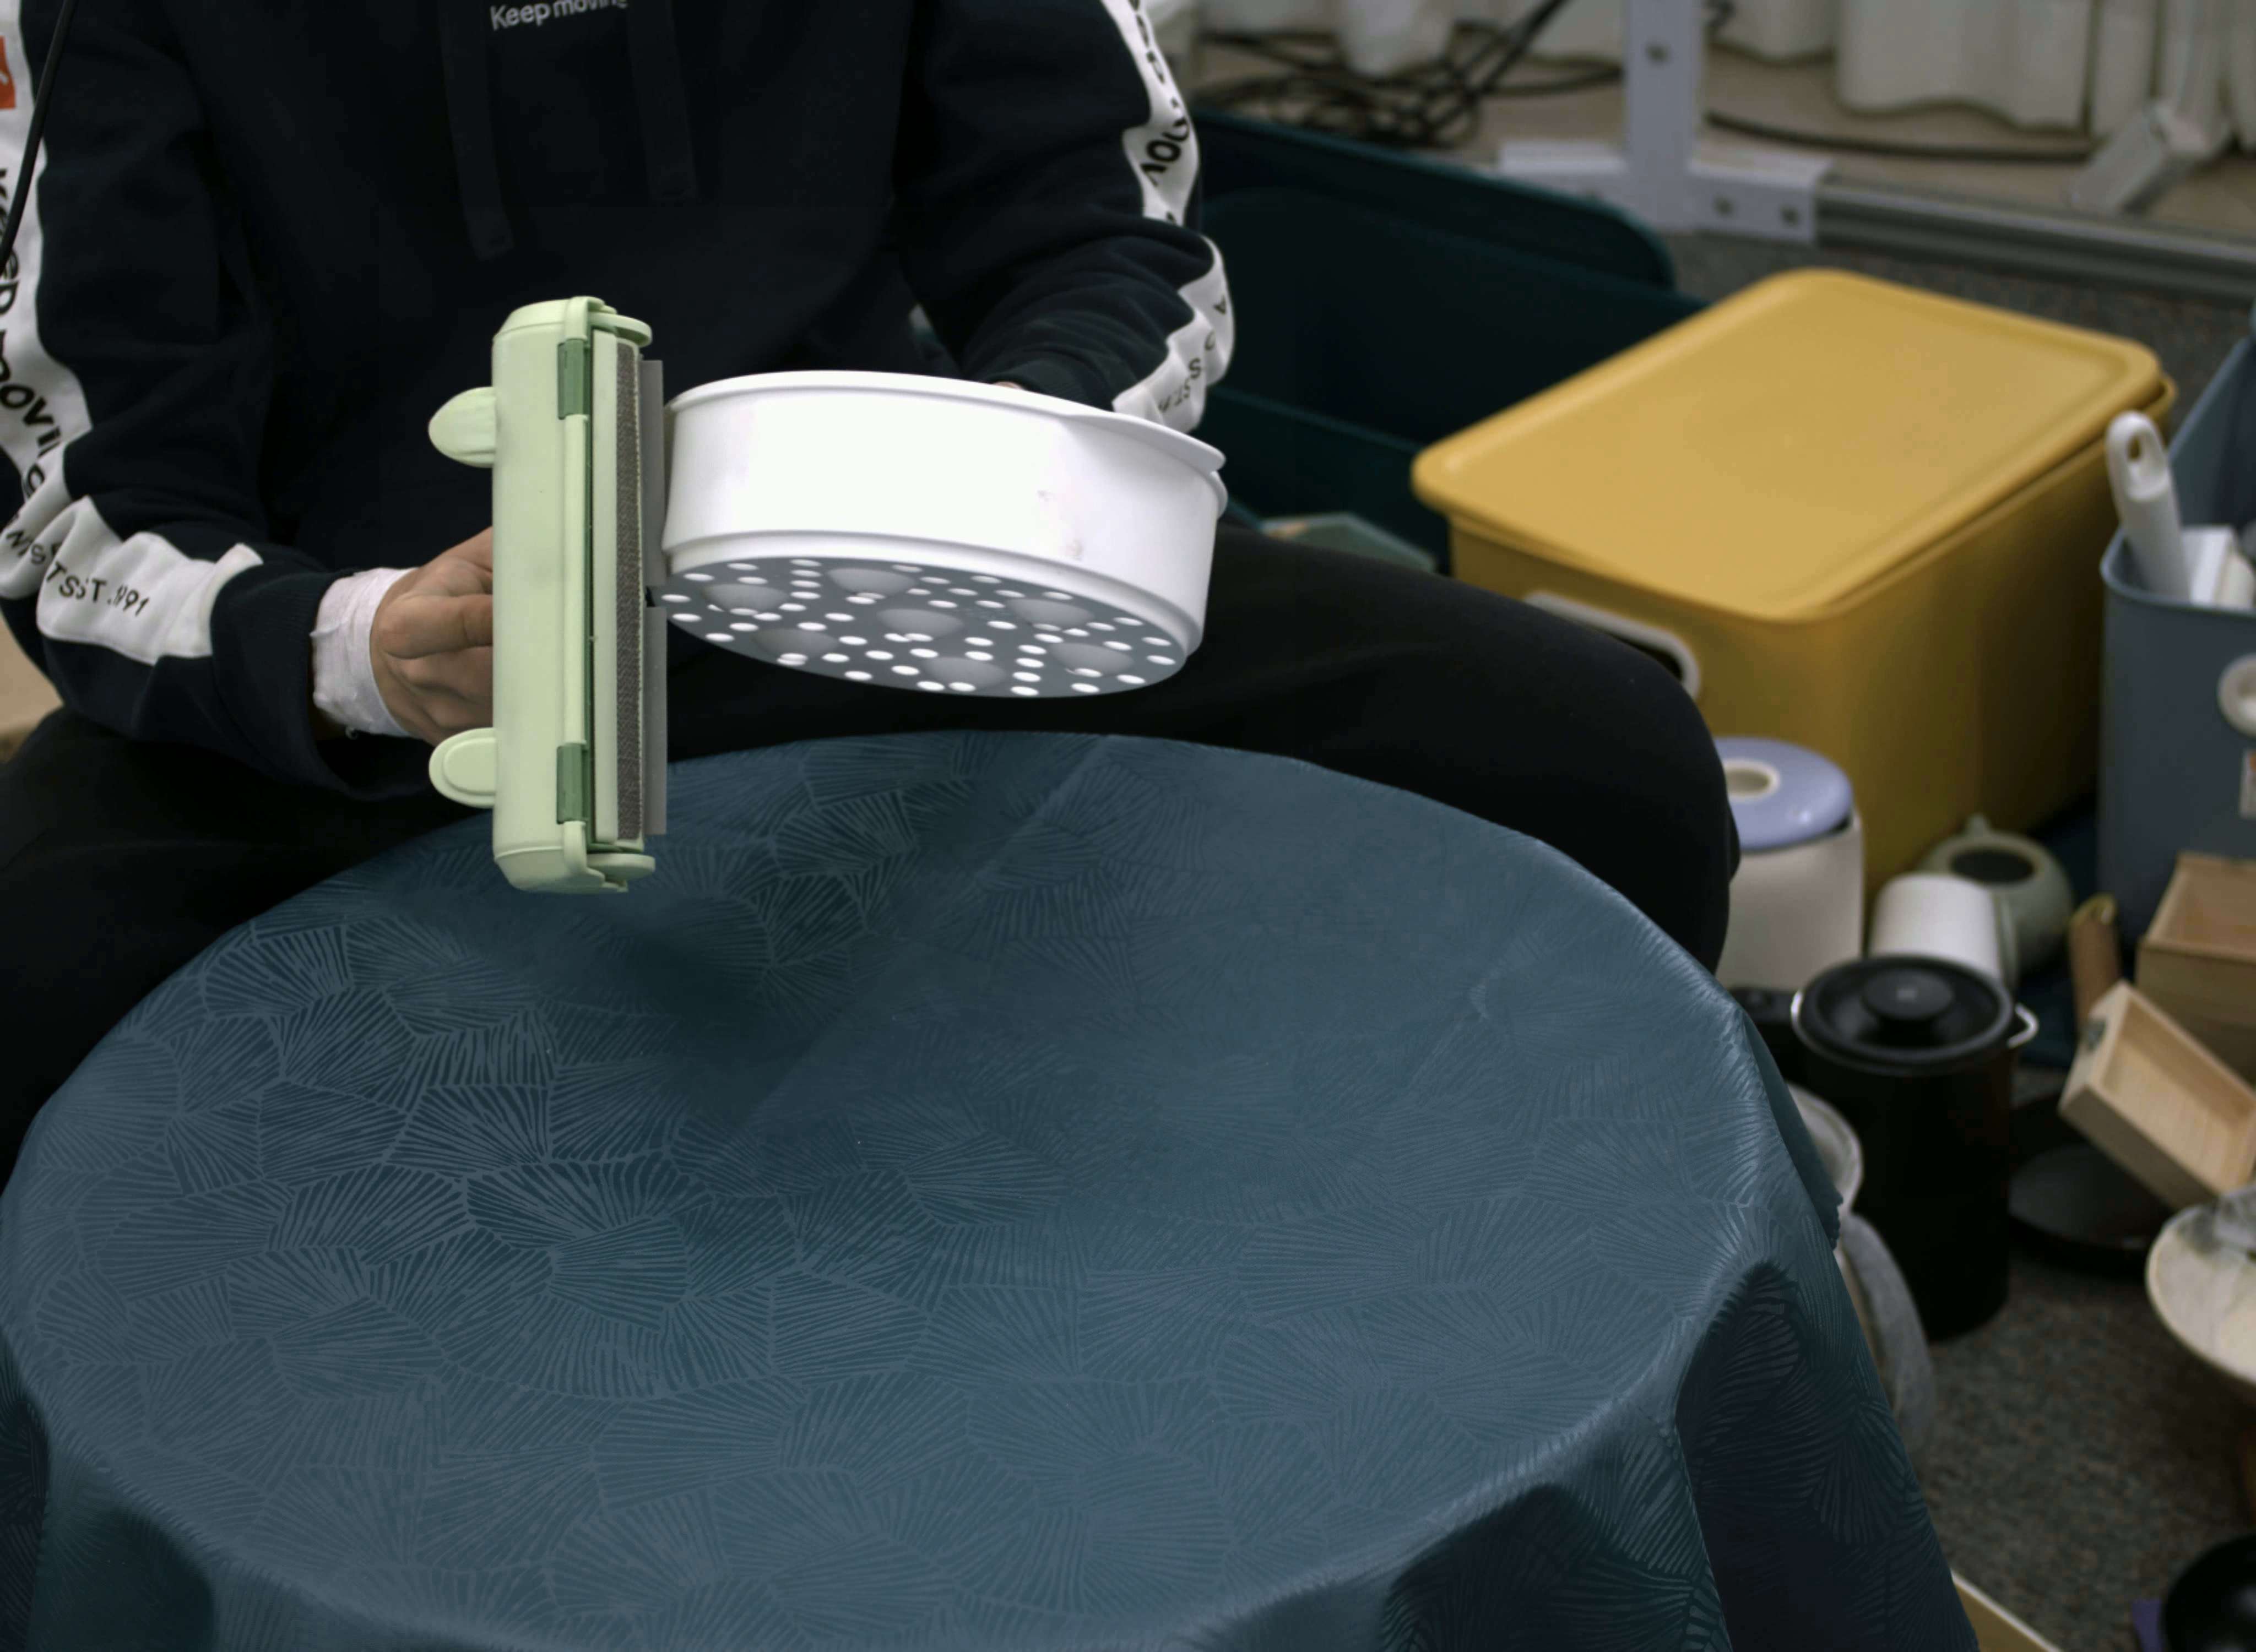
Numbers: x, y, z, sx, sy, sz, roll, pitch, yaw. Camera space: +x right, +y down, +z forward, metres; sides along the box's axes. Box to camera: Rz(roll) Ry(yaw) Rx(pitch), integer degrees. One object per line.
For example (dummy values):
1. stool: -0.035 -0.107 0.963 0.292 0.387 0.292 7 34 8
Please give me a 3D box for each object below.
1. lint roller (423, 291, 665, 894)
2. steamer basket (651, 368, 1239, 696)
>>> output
1. lint roller: -0.212 -0.069 1.924 0.082 0.200 0.181 2 -10 -23
2. steamer basket: -0.065 -0.095 1.927 0.228 0.070 0.201 -3 -15 43
